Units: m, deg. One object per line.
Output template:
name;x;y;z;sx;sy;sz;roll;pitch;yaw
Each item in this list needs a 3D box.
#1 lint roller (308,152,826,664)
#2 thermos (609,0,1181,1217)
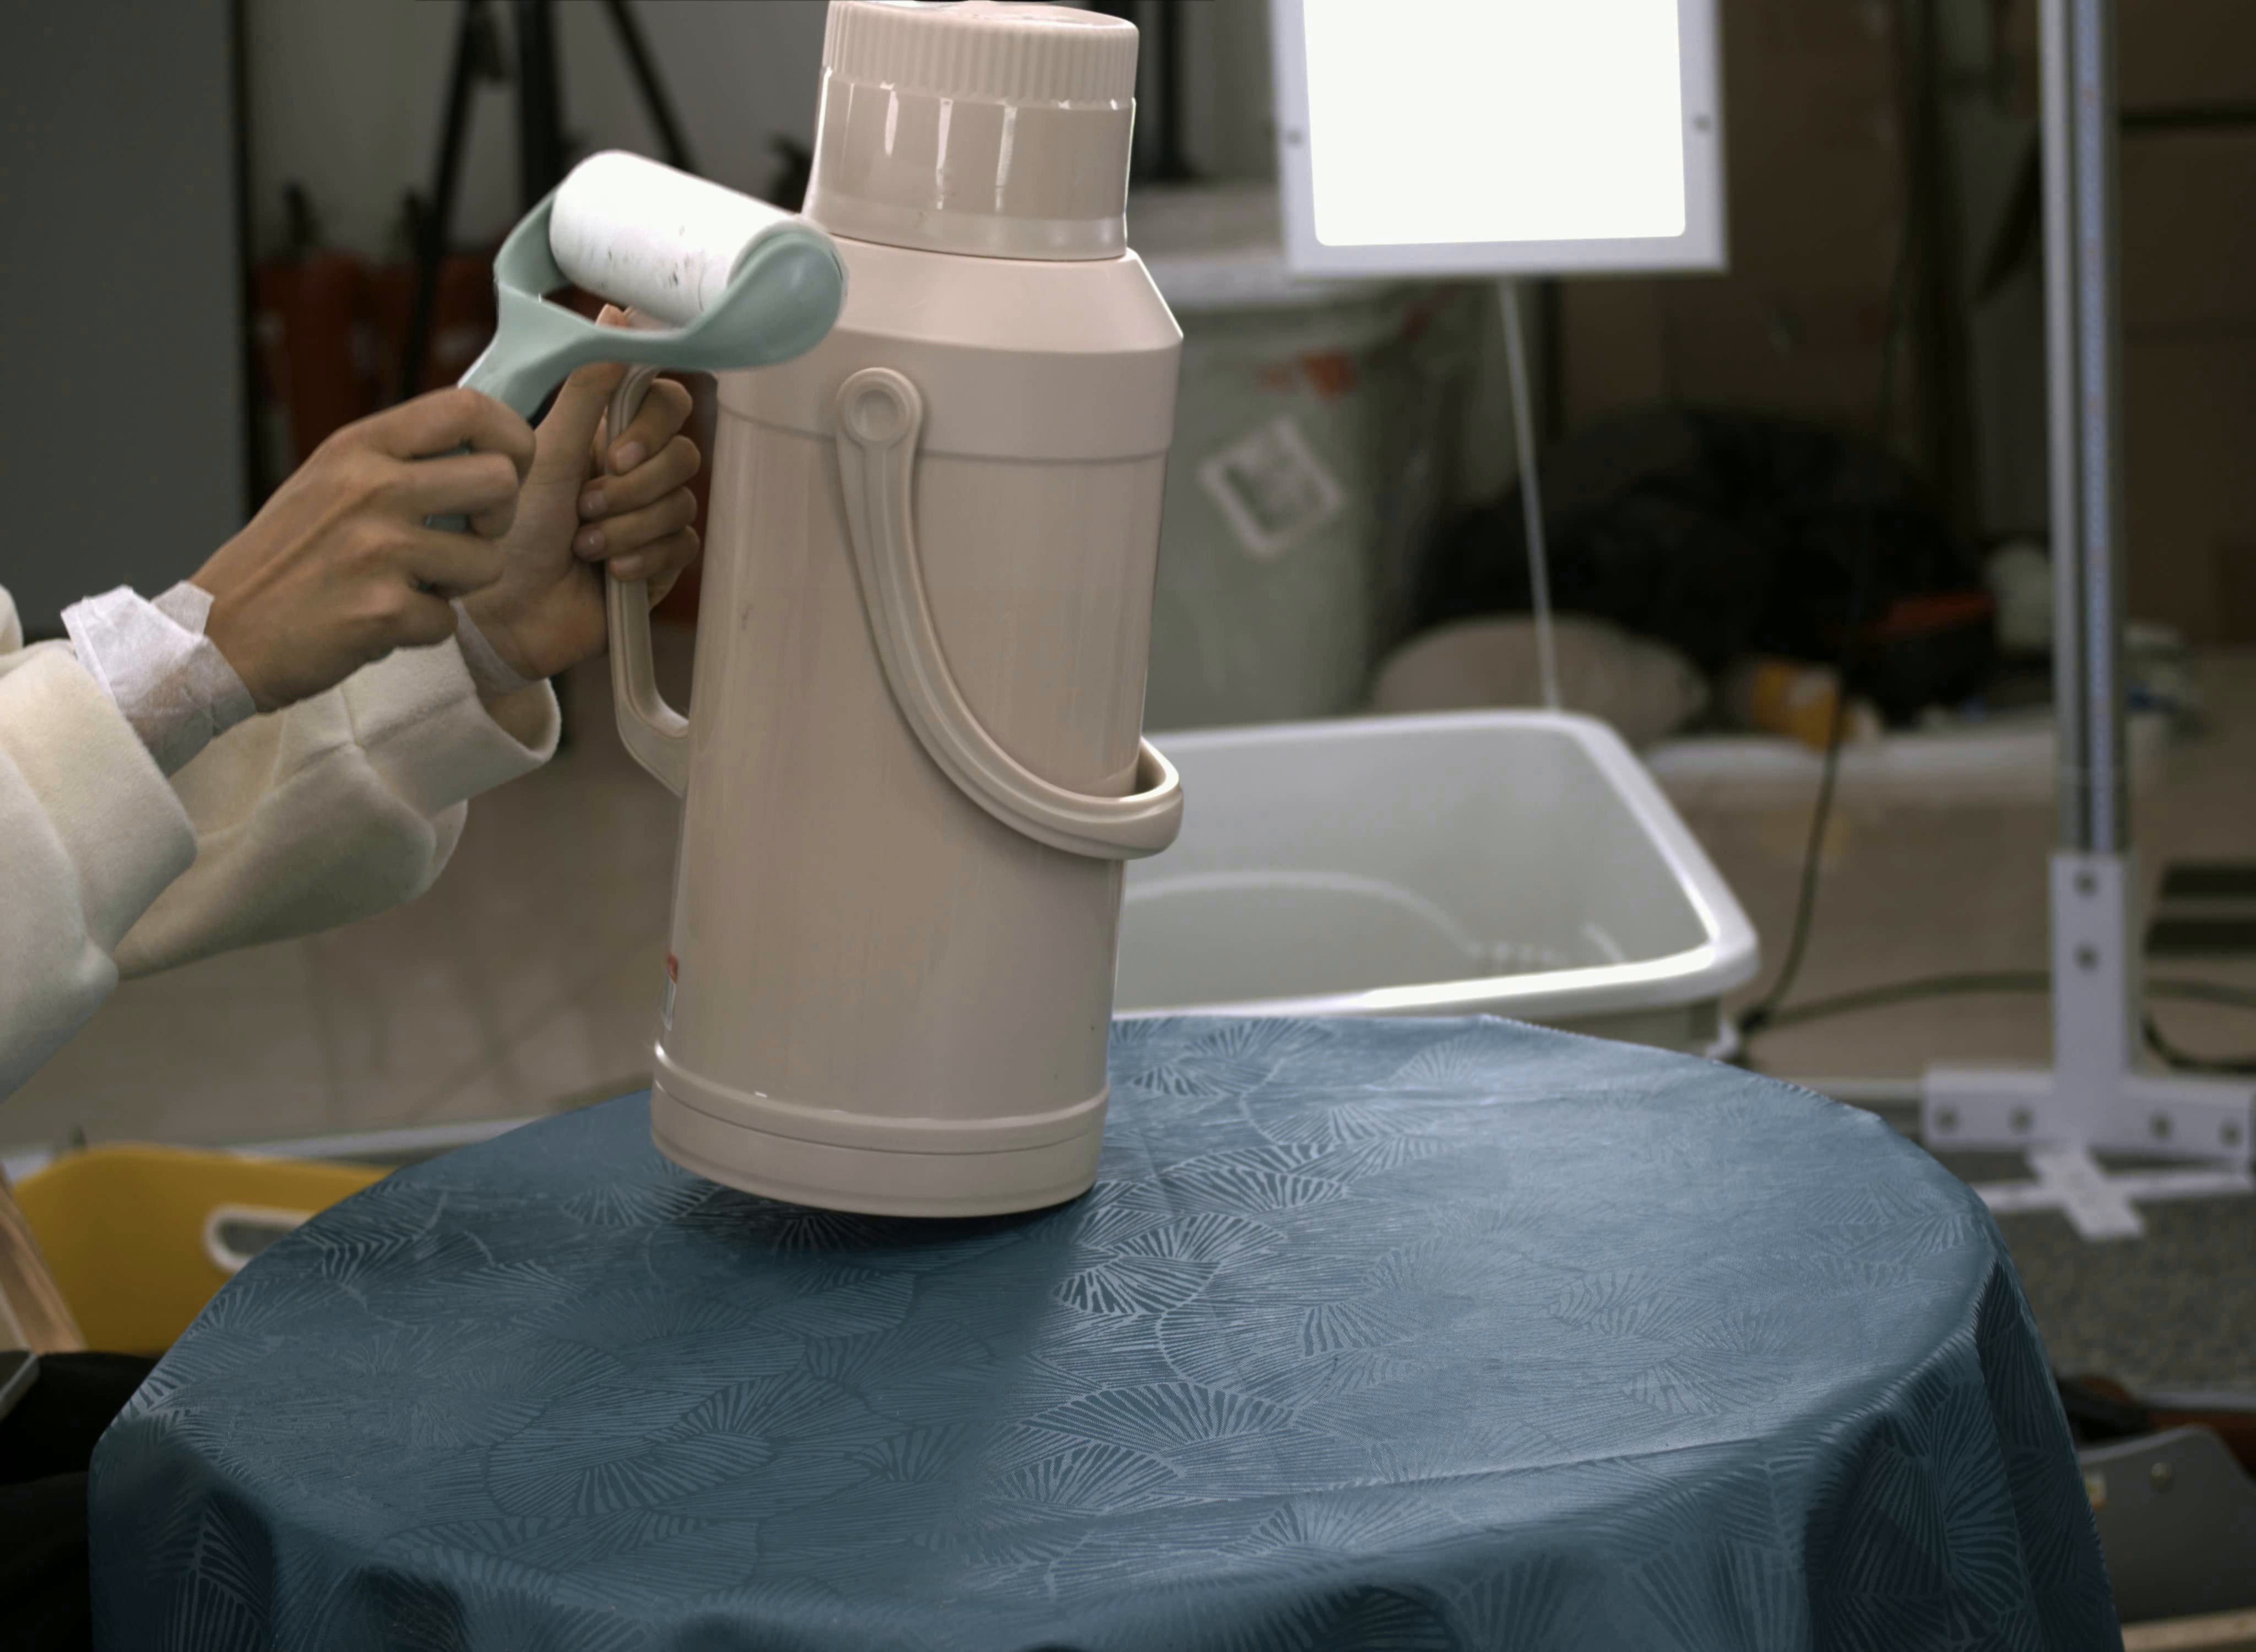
lint roller;-0.194;-0.132;1.738;0.195;0.048;0.119;-45;42;-16
thermos;-0.081;-0.080;1.886;0.209;0.408;0.173;9;13;14
